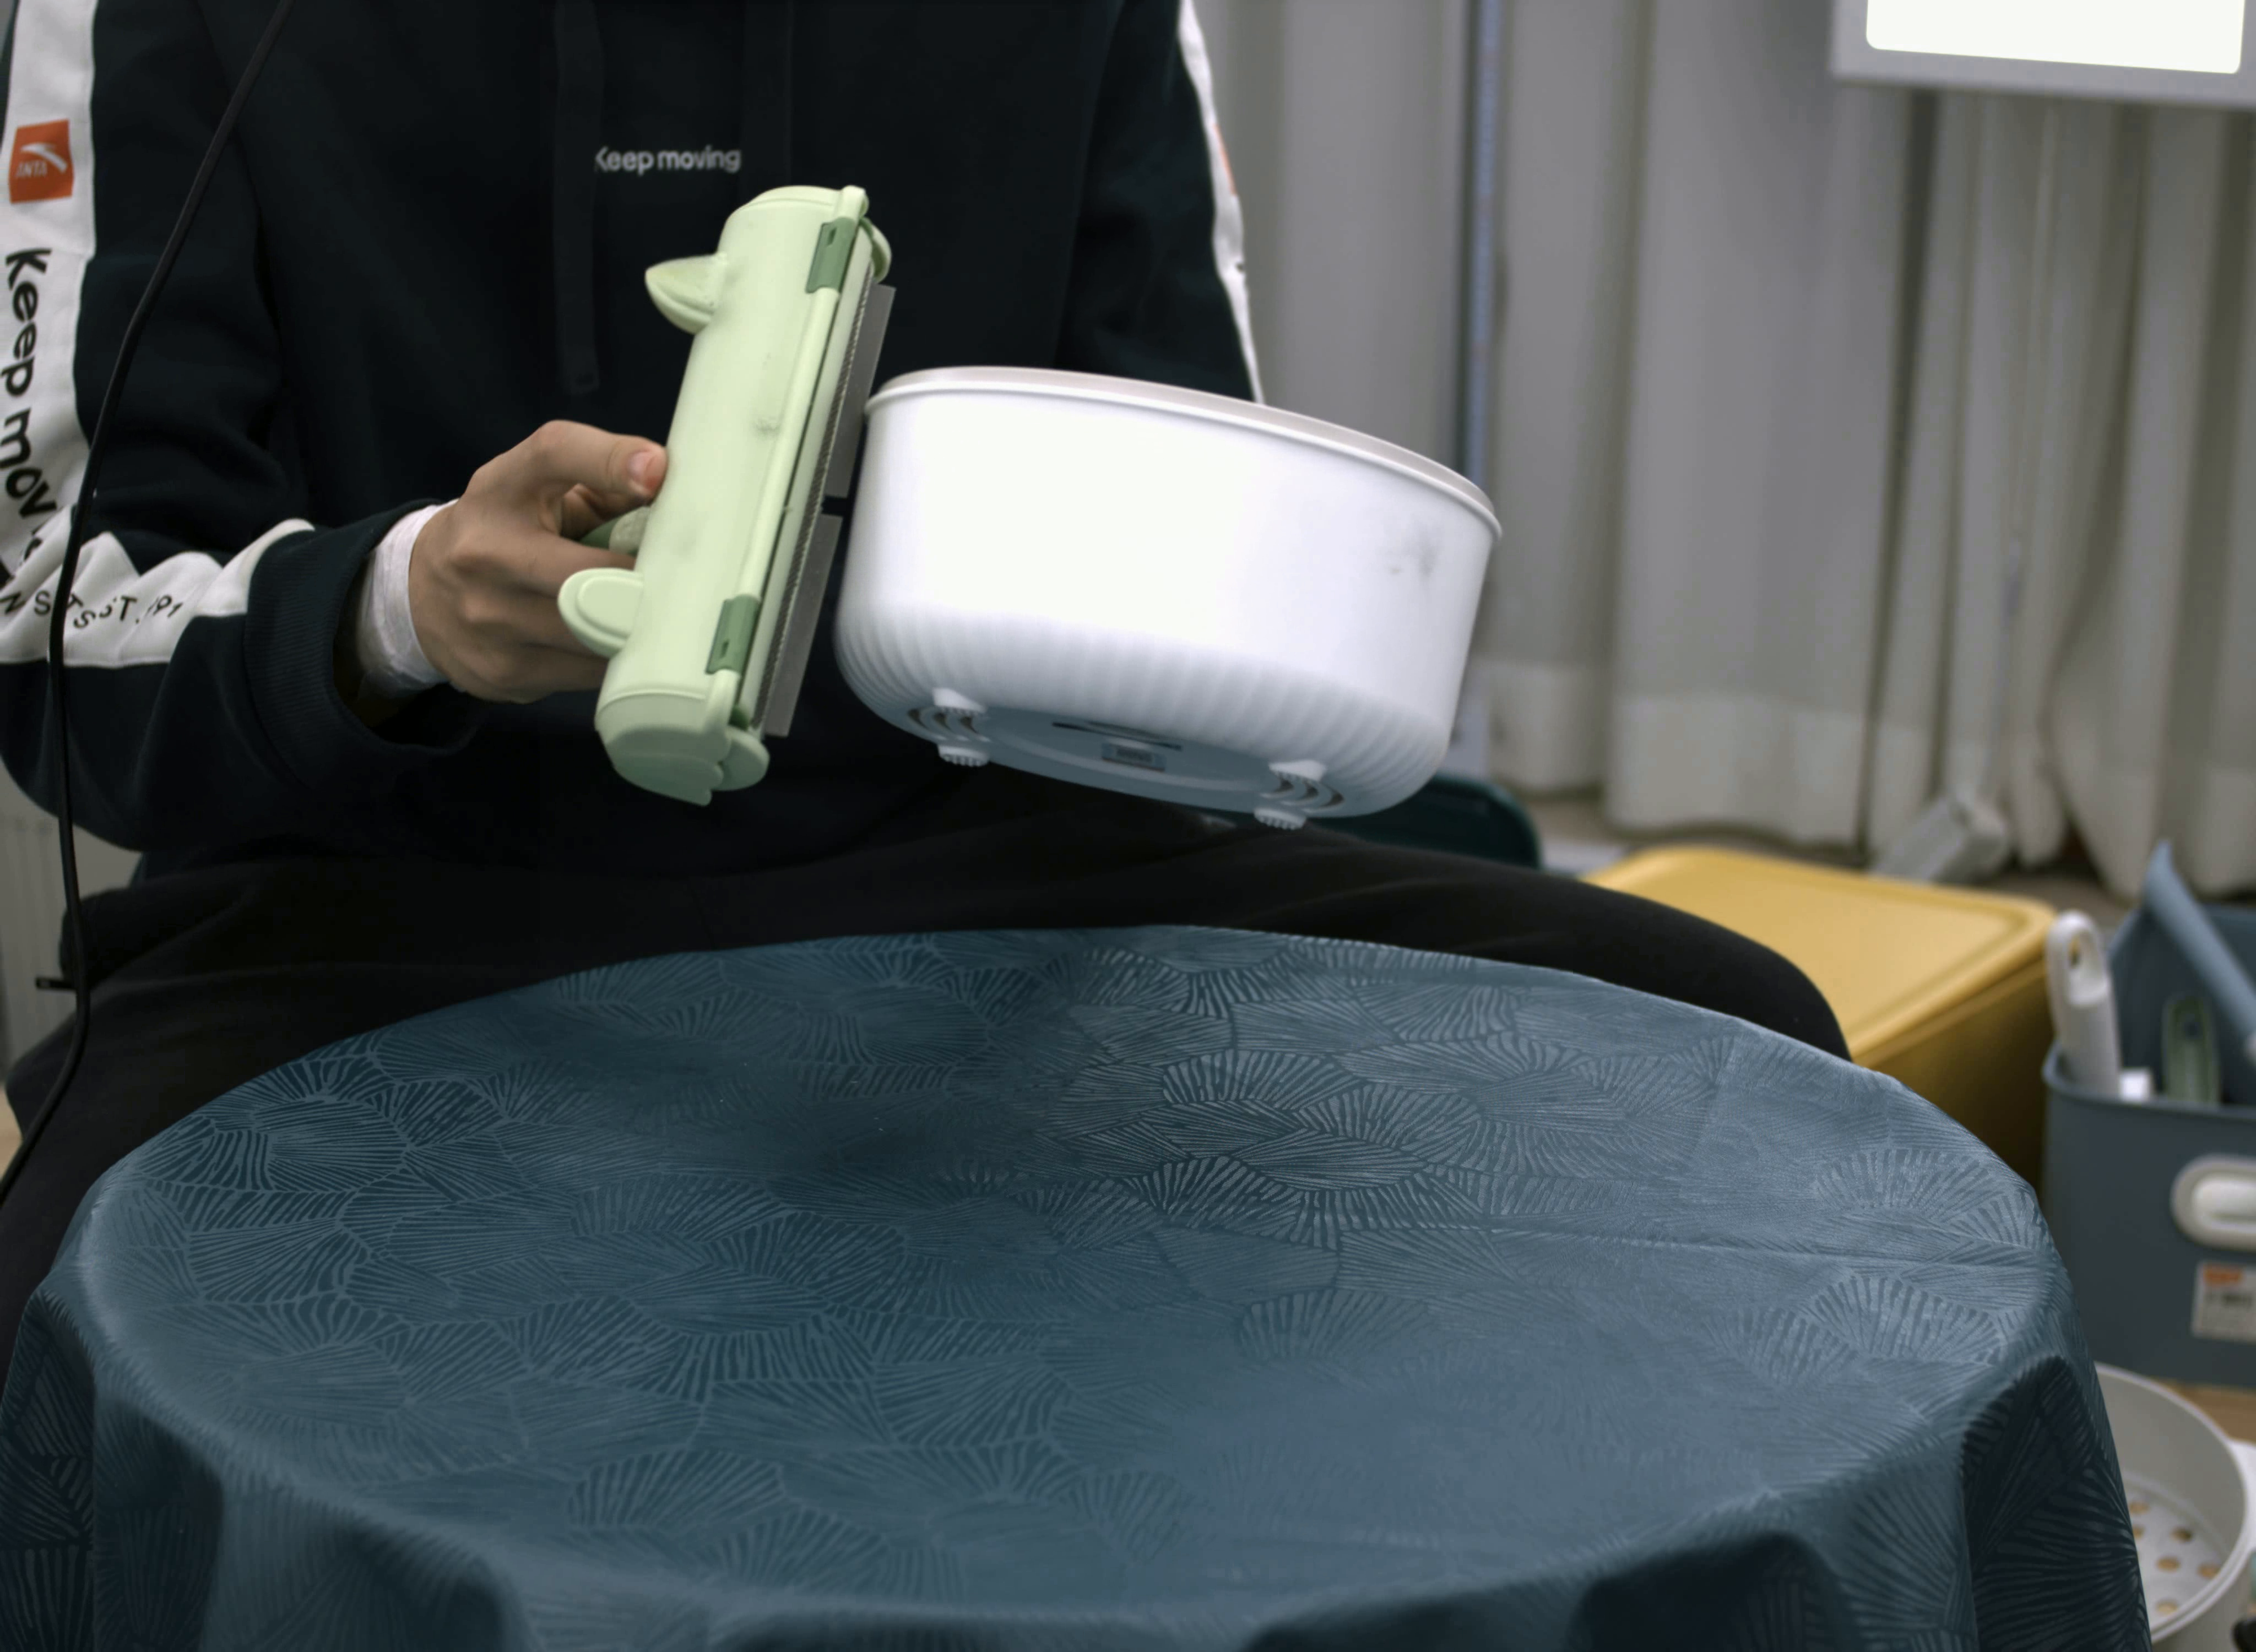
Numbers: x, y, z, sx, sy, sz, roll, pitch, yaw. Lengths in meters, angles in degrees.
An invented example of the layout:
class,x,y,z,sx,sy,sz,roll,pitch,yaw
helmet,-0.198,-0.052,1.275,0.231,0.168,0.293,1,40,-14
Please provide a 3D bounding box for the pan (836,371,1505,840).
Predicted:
class,x,y,z,sx,sy,sz,roll,pitch,yaw
pan,0.008,-0.051,1.695,0.200,0.102,0.355,10,-9,0

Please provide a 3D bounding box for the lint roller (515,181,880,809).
class,x,y,z,sx,sy,sz,roll,pitch,yaw
lint roller,-0.159,-0.094,1.640,0.083,0.198,0.182,29,-31,-33
